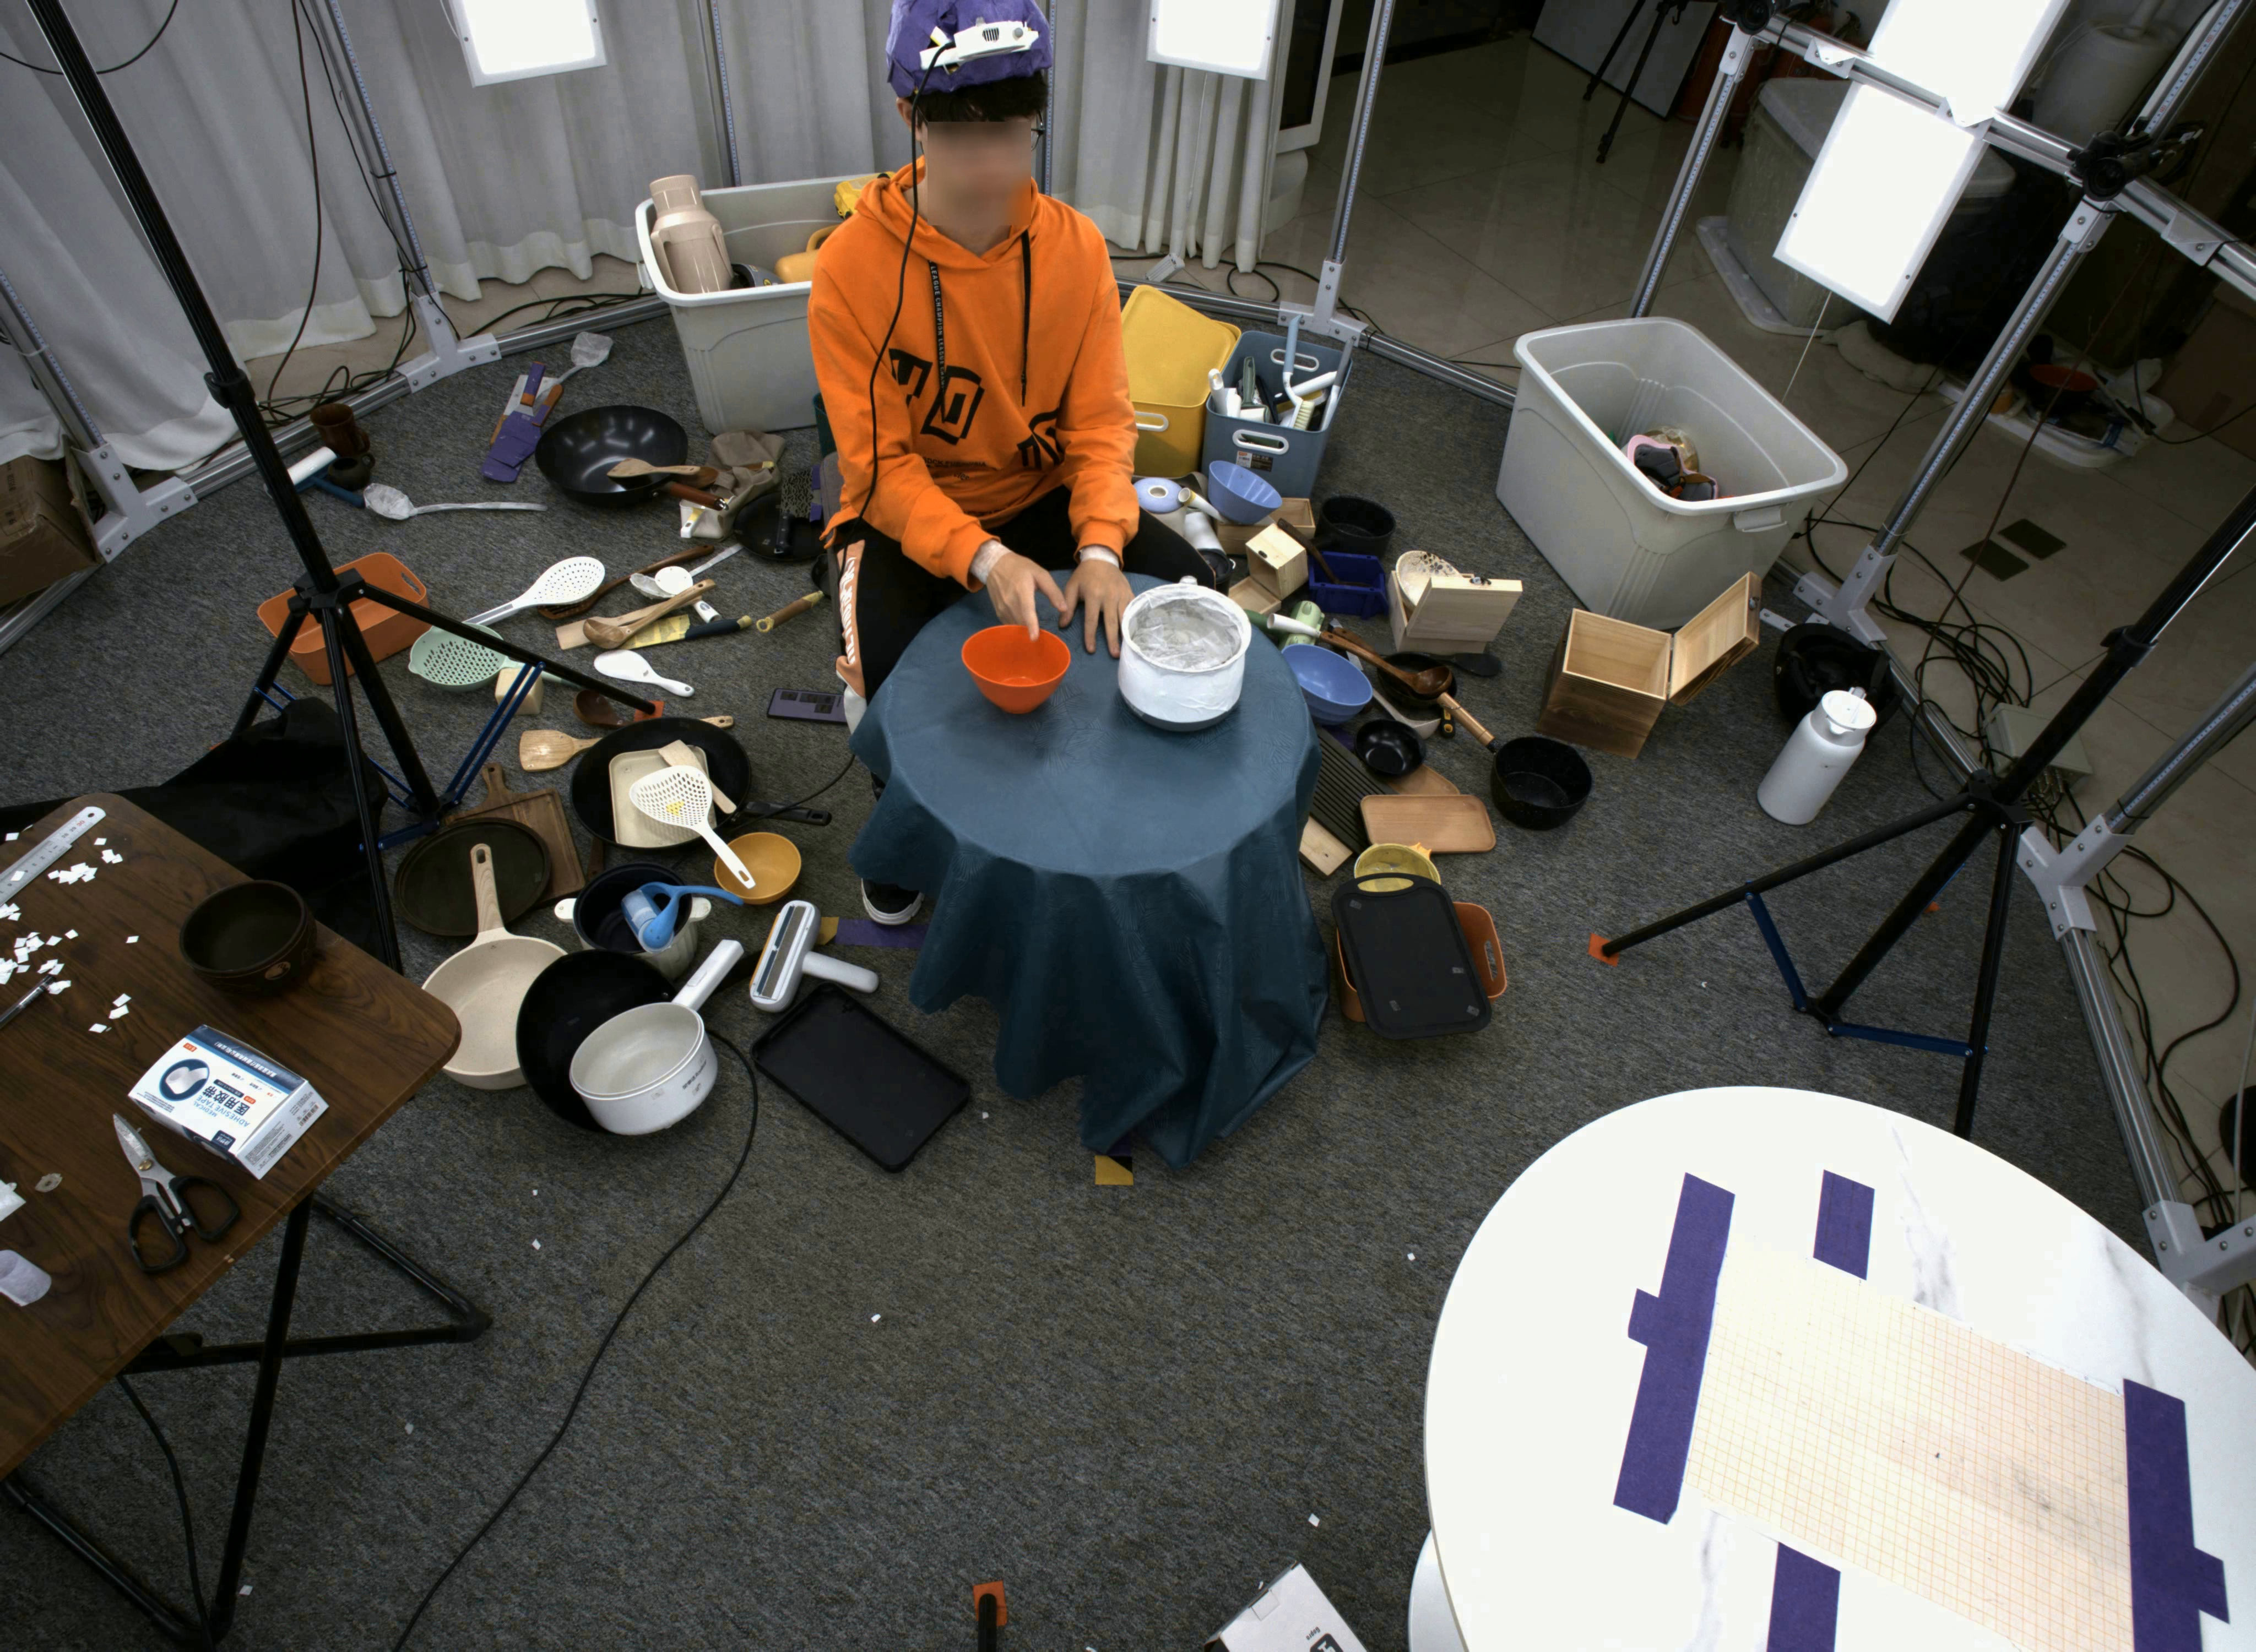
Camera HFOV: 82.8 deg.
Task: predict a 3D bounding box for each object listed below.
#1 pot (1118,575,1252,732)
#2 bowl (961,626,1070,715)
[{"bbox_3d":[0.077,-0.252,1.803,0.178,0.133,0.239,4,49,-1],"label":"pot"},{"bbox_3d":[-0.155,-0.205,1.774,0.148,0.102,0.152,2,48,-3],"label":"bowl"}]
